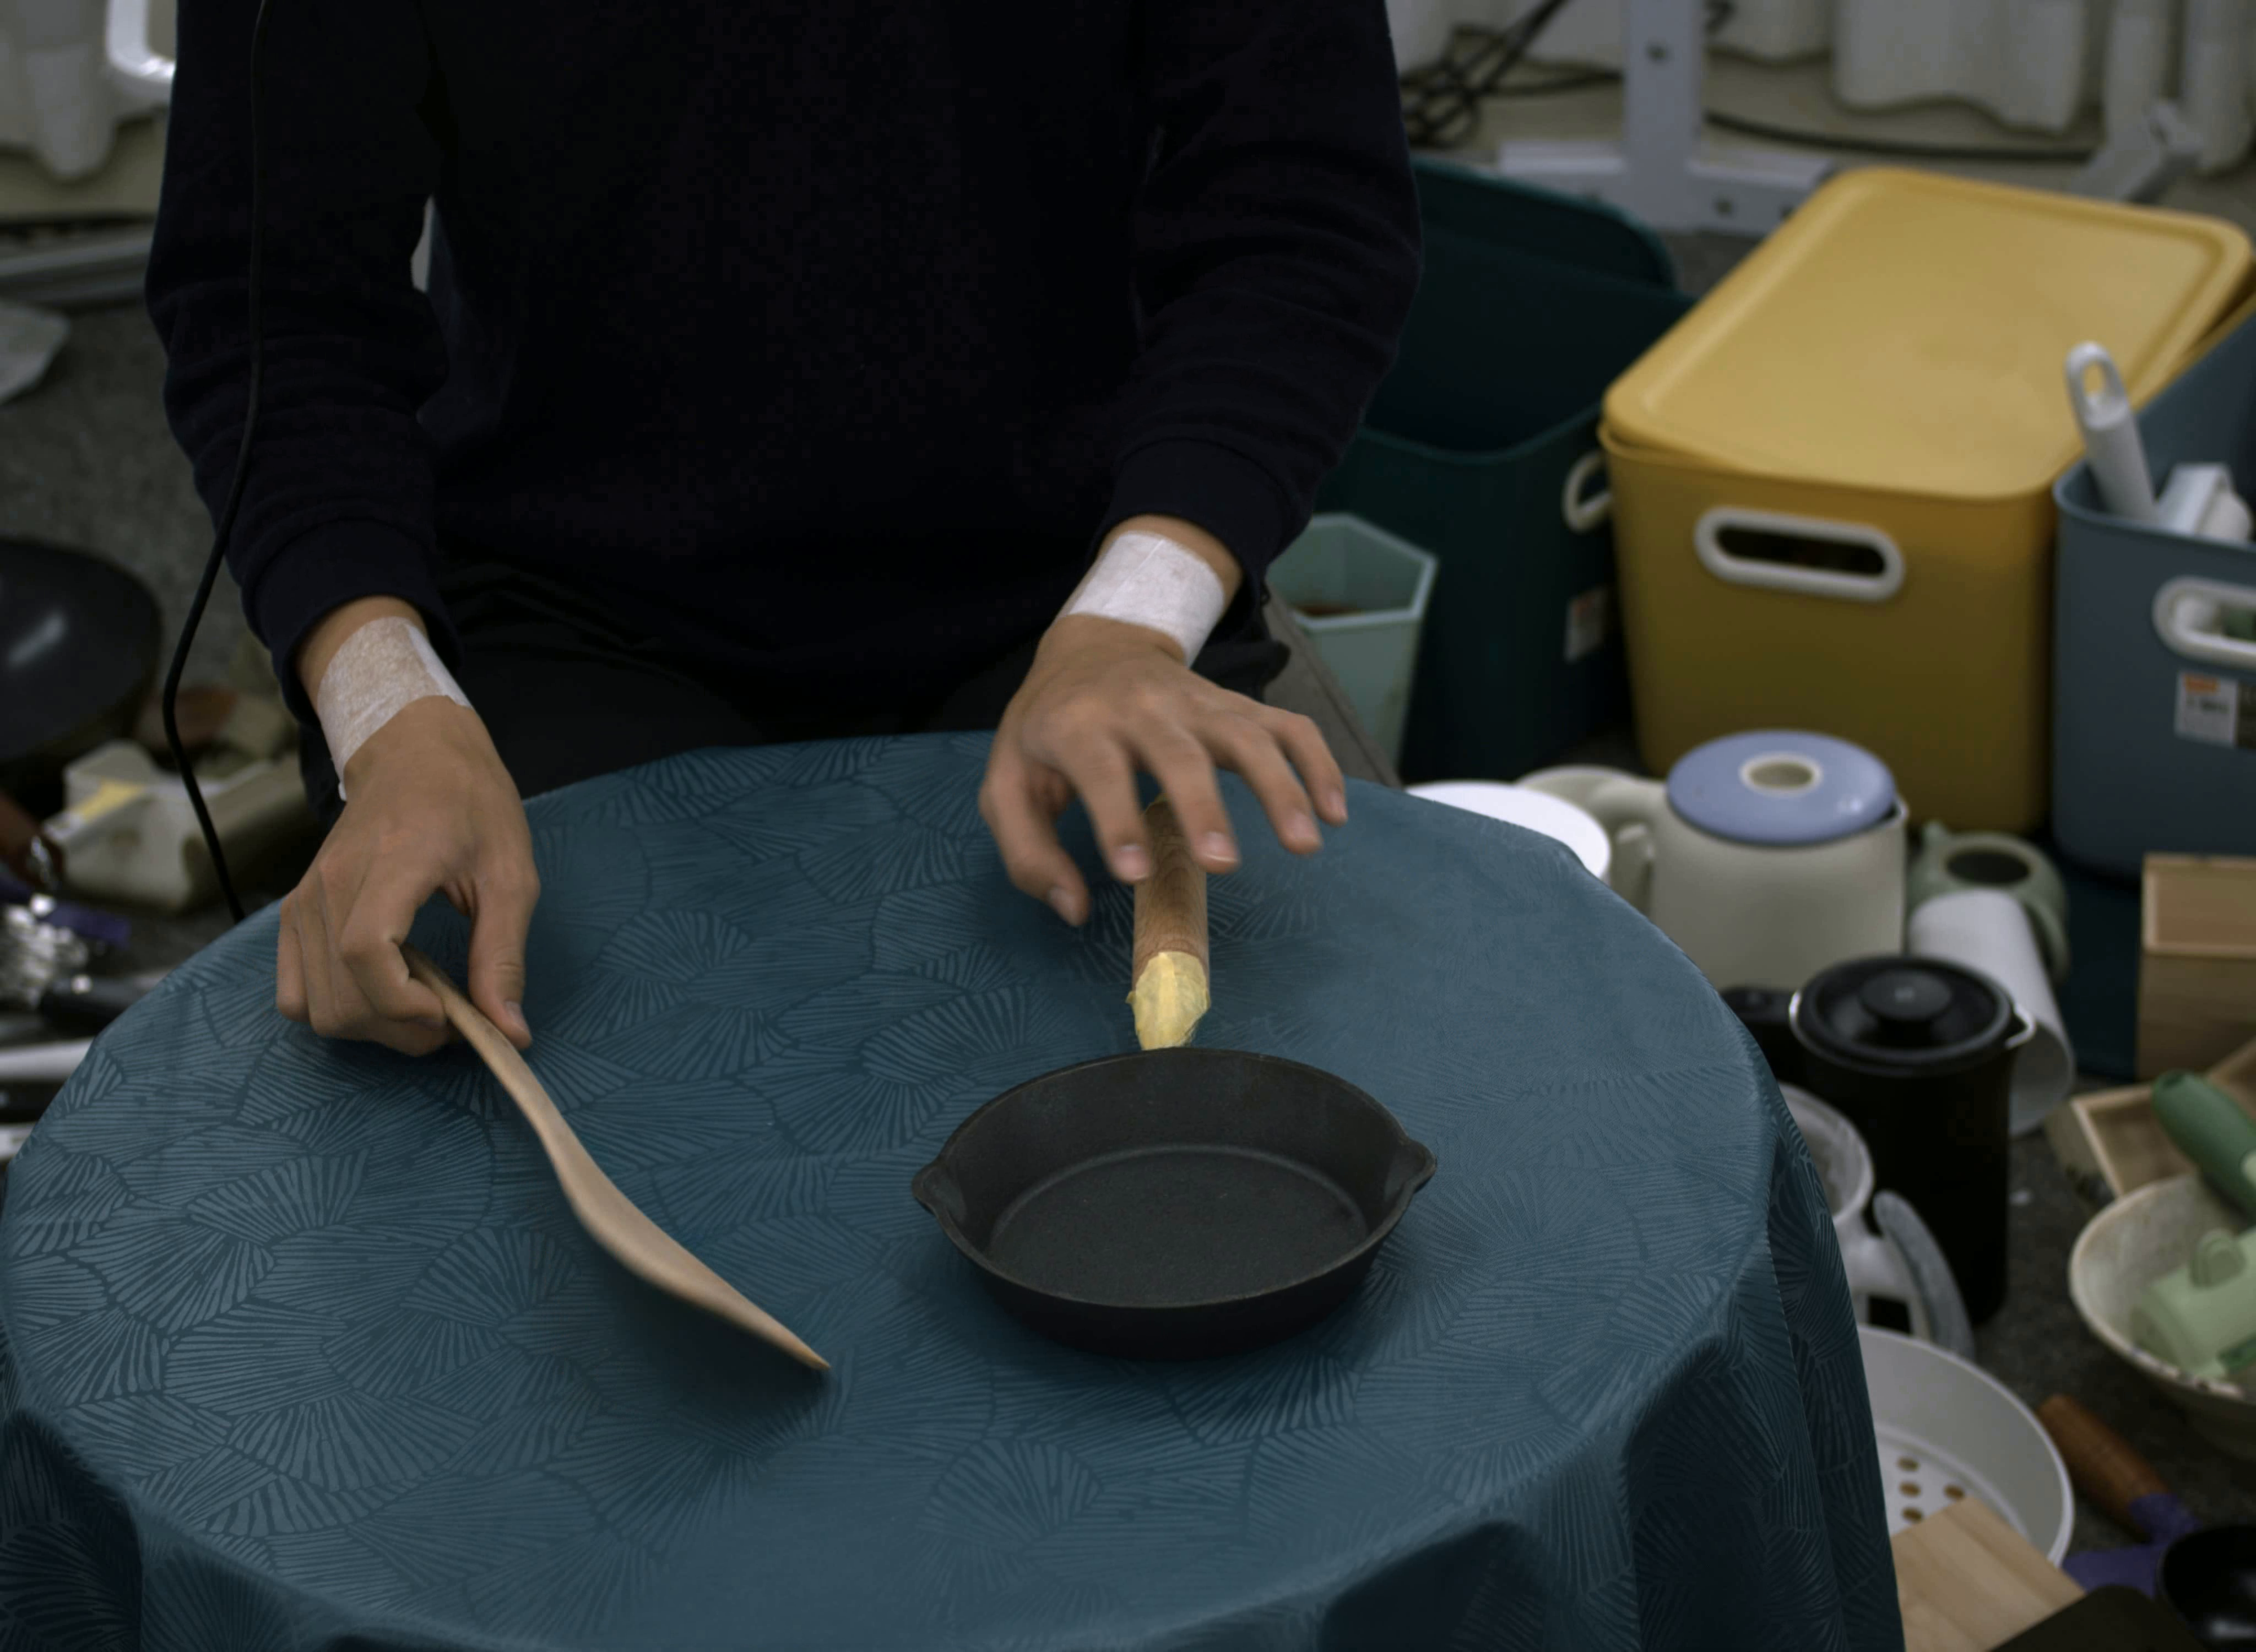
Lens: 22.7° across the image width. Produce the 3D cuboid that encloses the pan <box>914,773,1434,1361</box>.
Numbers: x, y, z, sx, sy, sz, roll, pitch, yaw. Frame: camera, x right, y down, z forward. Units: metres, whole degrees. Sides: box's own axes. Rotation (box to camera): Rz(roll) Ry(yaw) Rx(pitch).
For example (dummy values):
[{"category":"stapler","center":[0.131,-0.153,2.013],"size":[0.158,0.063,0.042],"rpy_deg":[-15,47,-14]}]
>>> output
[{"category":"pan","center":[0.017,0.078,1.890],"size":[0.168,0.049,0.329],"rpy_deg":[-2,29,3]}]

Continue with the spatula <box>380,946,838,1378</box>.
[{"category":"spatula","center":[-0.185,0.106,1.866],"size":[0.079,0.016,0.329],"rpy_deg":[25,9,-34]}]
